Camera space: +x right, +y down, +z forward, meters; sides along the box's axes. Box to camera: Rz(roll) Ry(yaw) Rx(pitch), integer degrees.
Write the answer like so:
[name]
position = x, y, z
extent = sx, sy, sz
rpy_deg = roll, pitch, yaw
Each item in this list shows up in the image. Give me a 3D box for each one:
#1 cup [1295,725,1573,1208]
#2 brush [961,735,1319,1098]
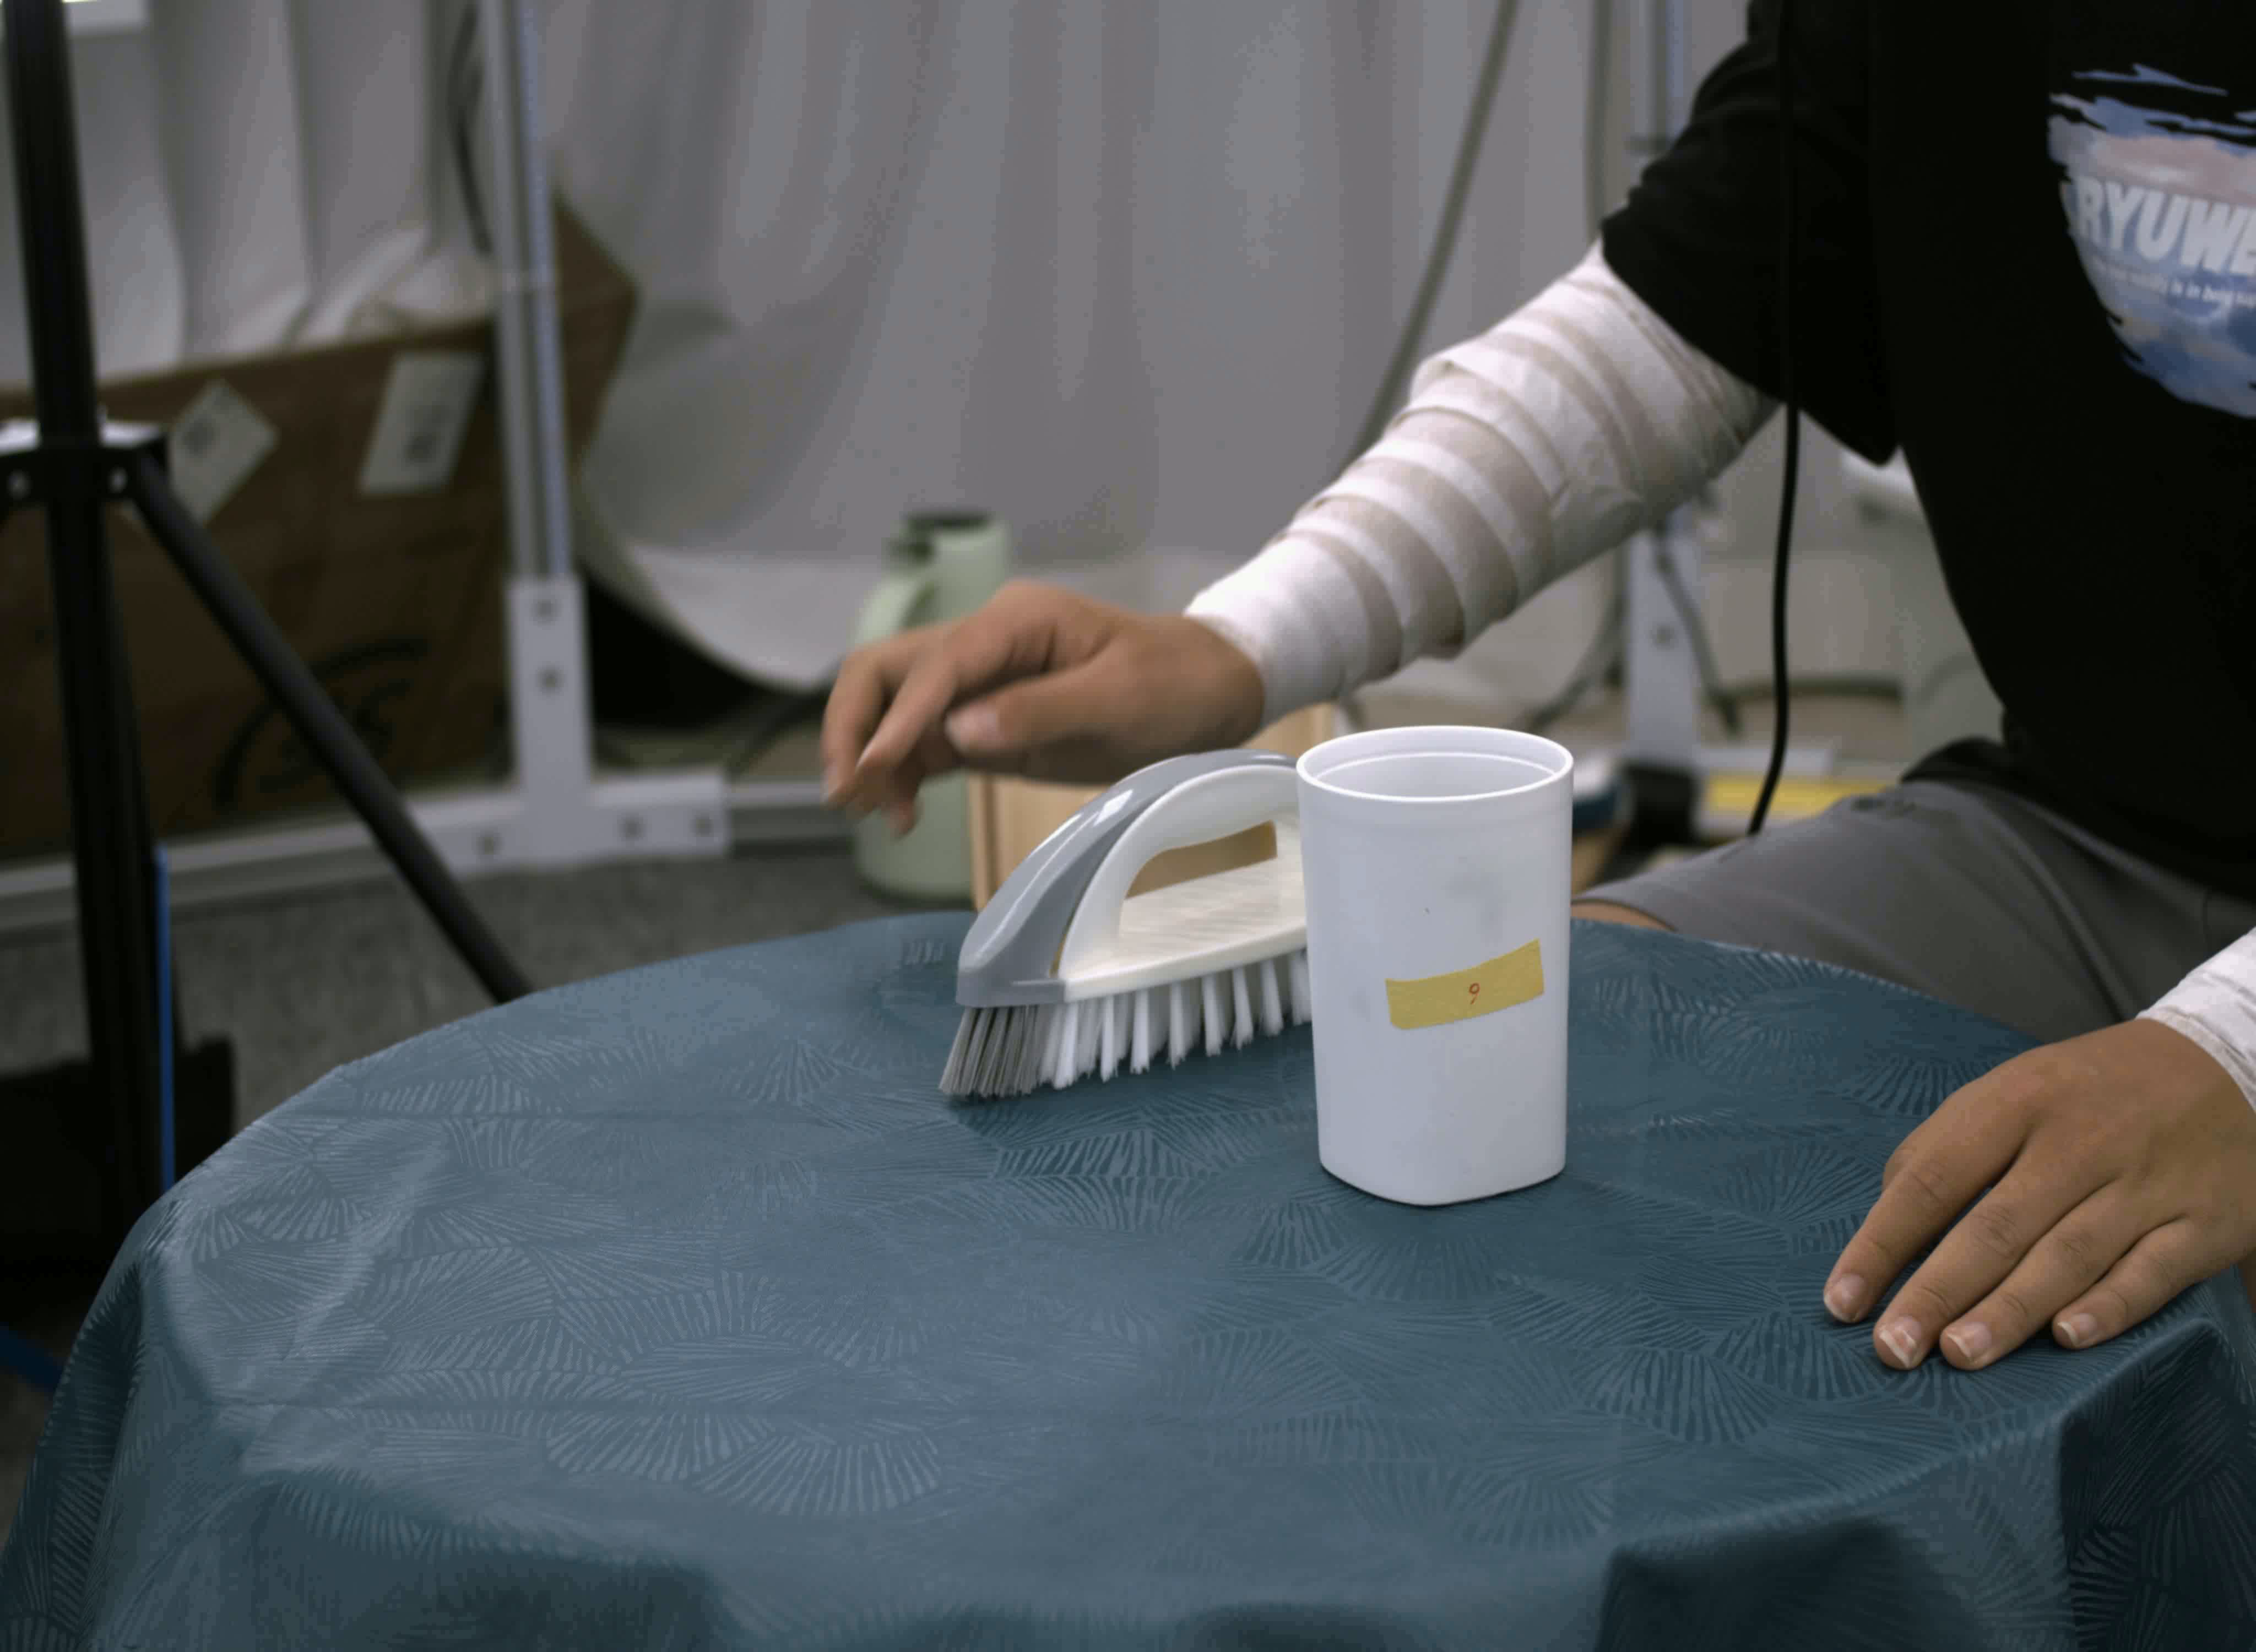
[cup]
position = 0.091, 0.041, 1.553
extent = 0.081, 0.125, 0.082
rpy_deg = -3, 15, -1
[brush]
position = 0.011, 0.025, 1.683
extent = 0.171, 0.094, 0.063
rpy_deg = -17, 16, -38
